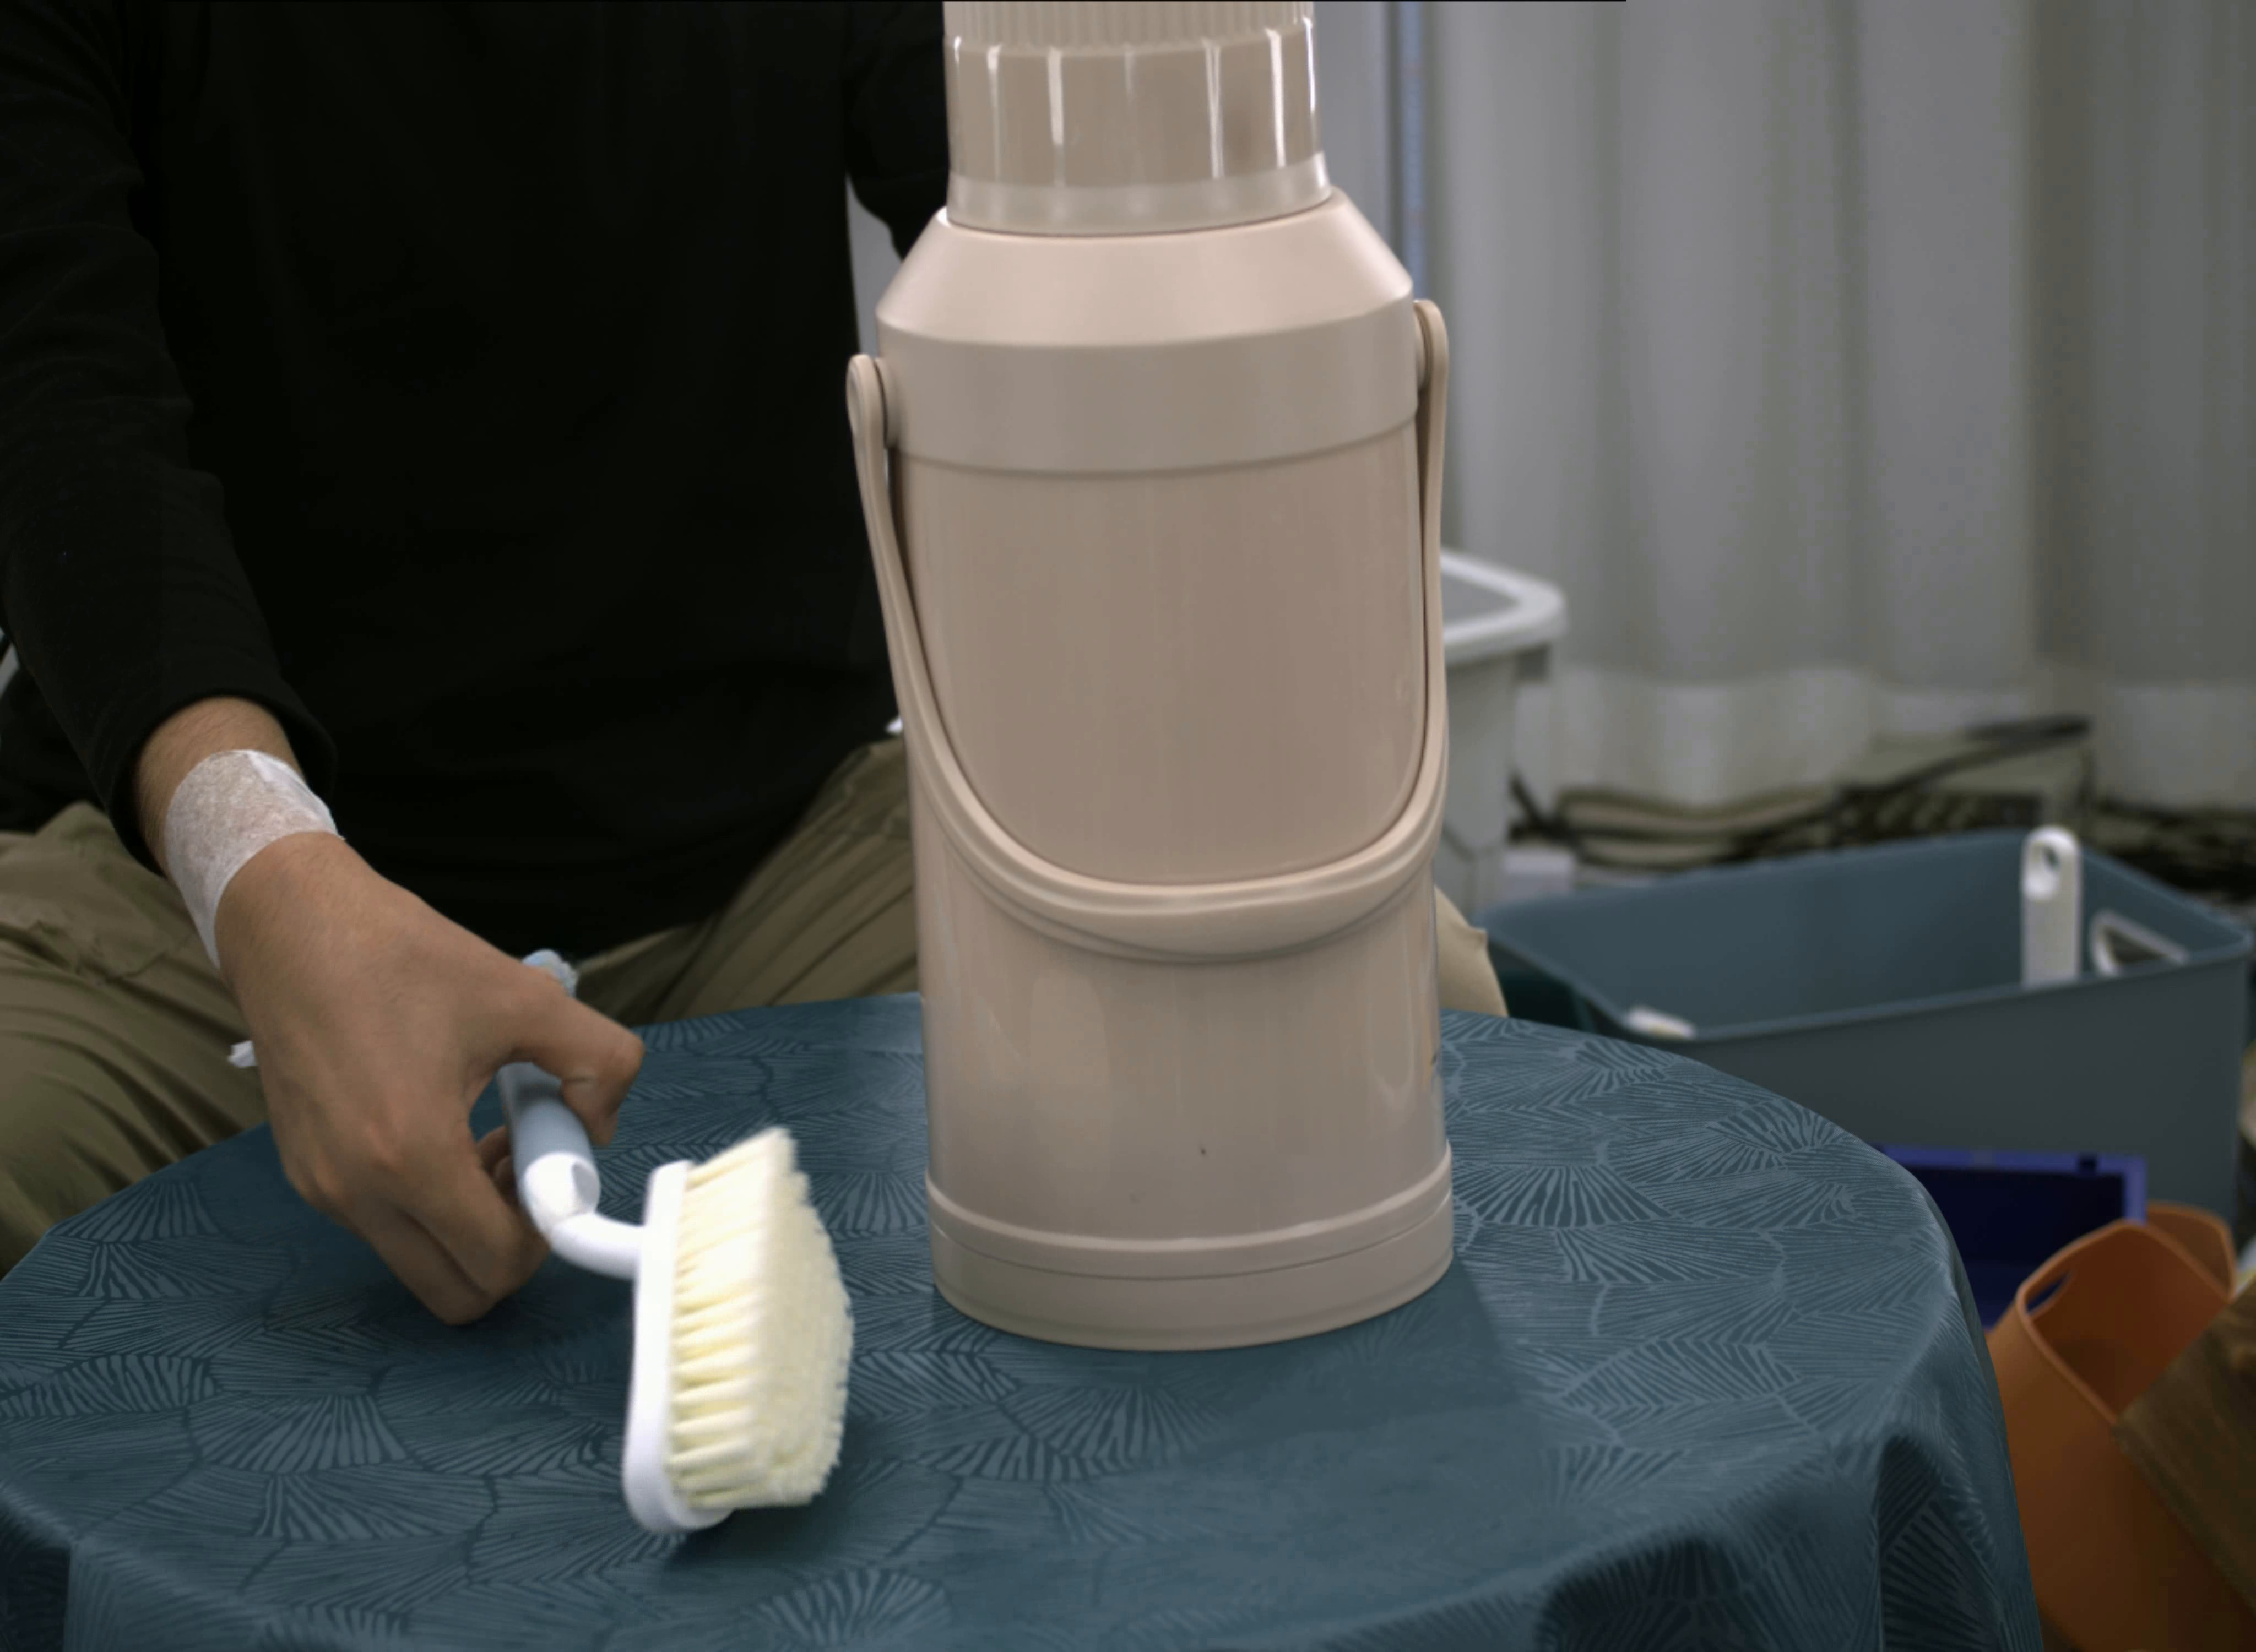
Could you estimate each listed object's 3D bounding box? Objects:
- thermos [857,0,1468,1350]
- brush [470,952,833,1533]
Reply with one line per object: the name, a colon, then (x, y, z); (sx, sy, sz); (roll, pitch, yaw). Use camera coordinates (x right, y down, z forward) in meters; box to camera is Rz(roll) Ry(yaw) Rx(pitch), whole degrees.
thermos: (0.010, -0.064, 1.617); (0.174, 0.404, 0.208); (-8, 15, -14)
brush: (-0.130, 0.098, 1.576); (0.084, 0.082, 0.329); (12, 21, -16)
